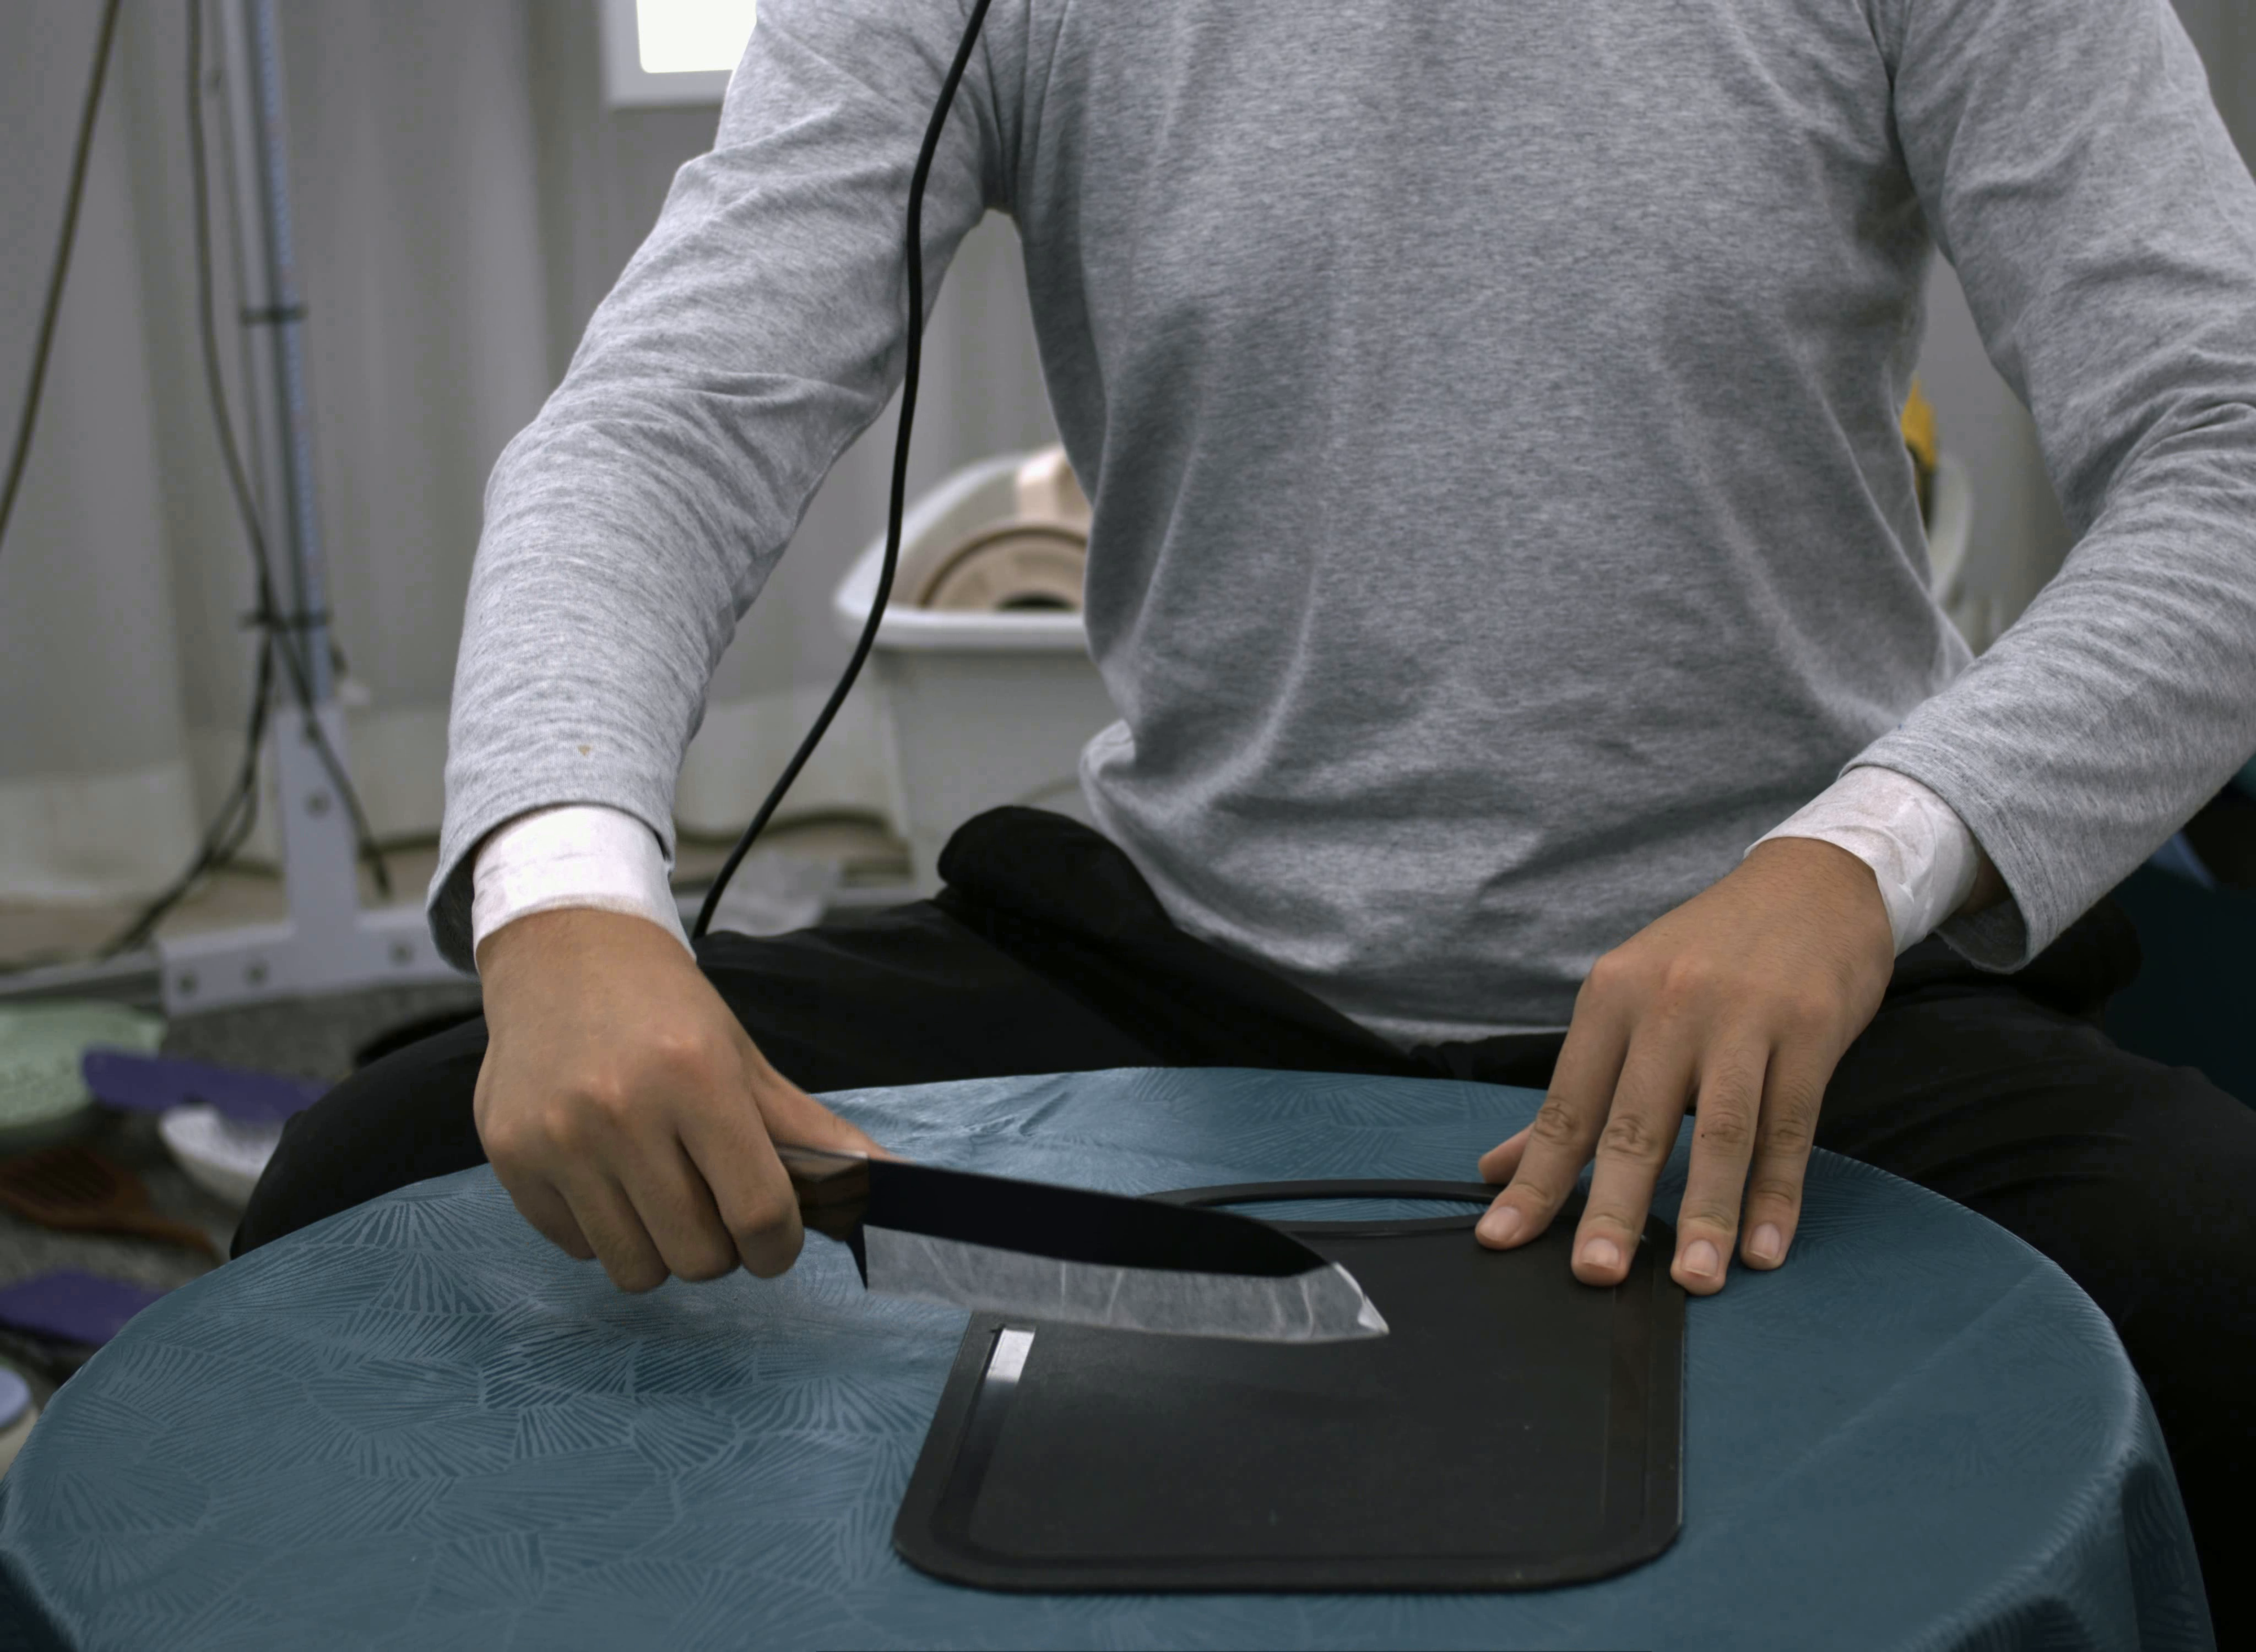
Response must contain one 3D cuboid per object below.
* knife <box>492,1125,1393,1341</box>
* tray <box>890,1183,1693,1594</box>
[{"bbox_3d":[-0.057,0.119,1.584,0.290,0.050,0.020,8,30,24],"label":"knife"},{"bbox_3d":[0.053,0.153,1.553,0.210,0.010,0.327,-1,15,7],"label":"tray"}]
